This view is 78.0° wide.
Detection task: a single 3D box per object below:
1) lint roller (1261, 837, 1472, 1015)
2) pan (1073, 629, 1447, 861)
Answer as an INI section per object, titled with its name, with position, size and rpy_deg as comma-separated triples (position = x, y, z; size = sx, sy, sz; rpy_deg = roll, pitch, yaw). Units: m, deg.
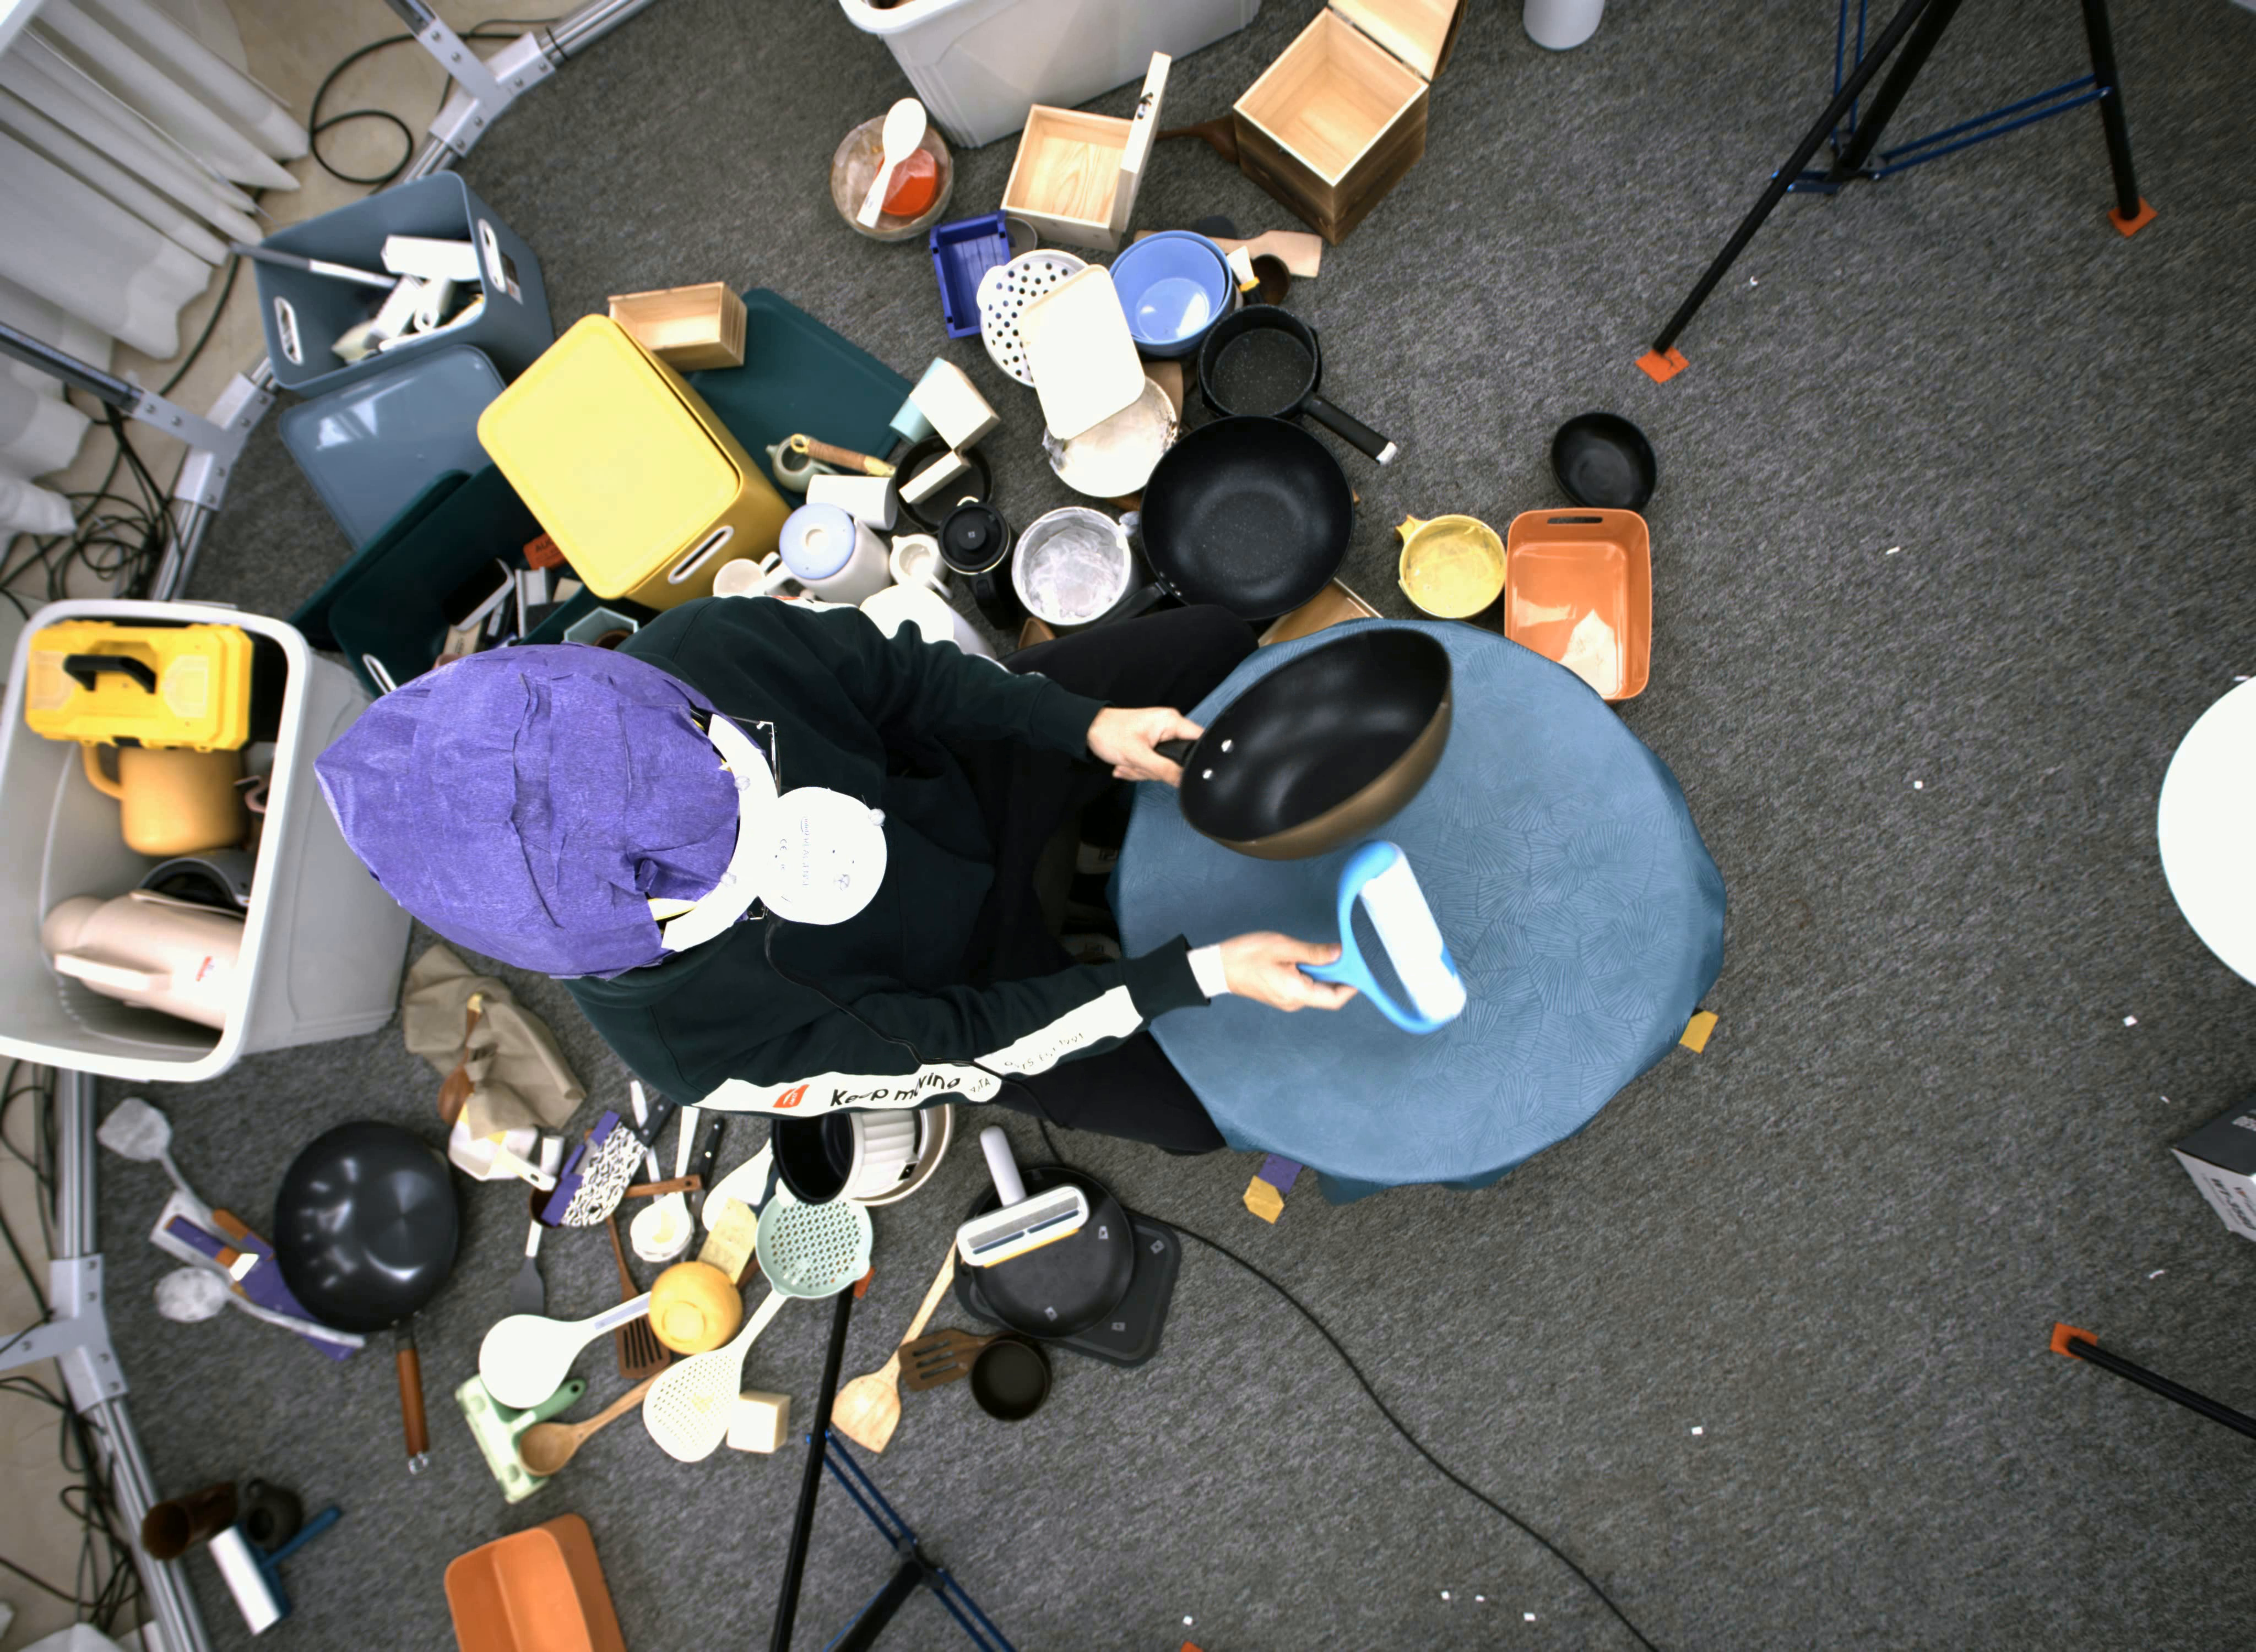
[lint roller]
position = 0.210, 0.112, 1.303
size = 0.182, 0.232, 0.066
rpy_deg = -23, 41, 23
[pan]
position = 0.116, -0.054, 1.325
size = 0.088, 0.468, 0.281
rpy_deg = 51, 56, -26
